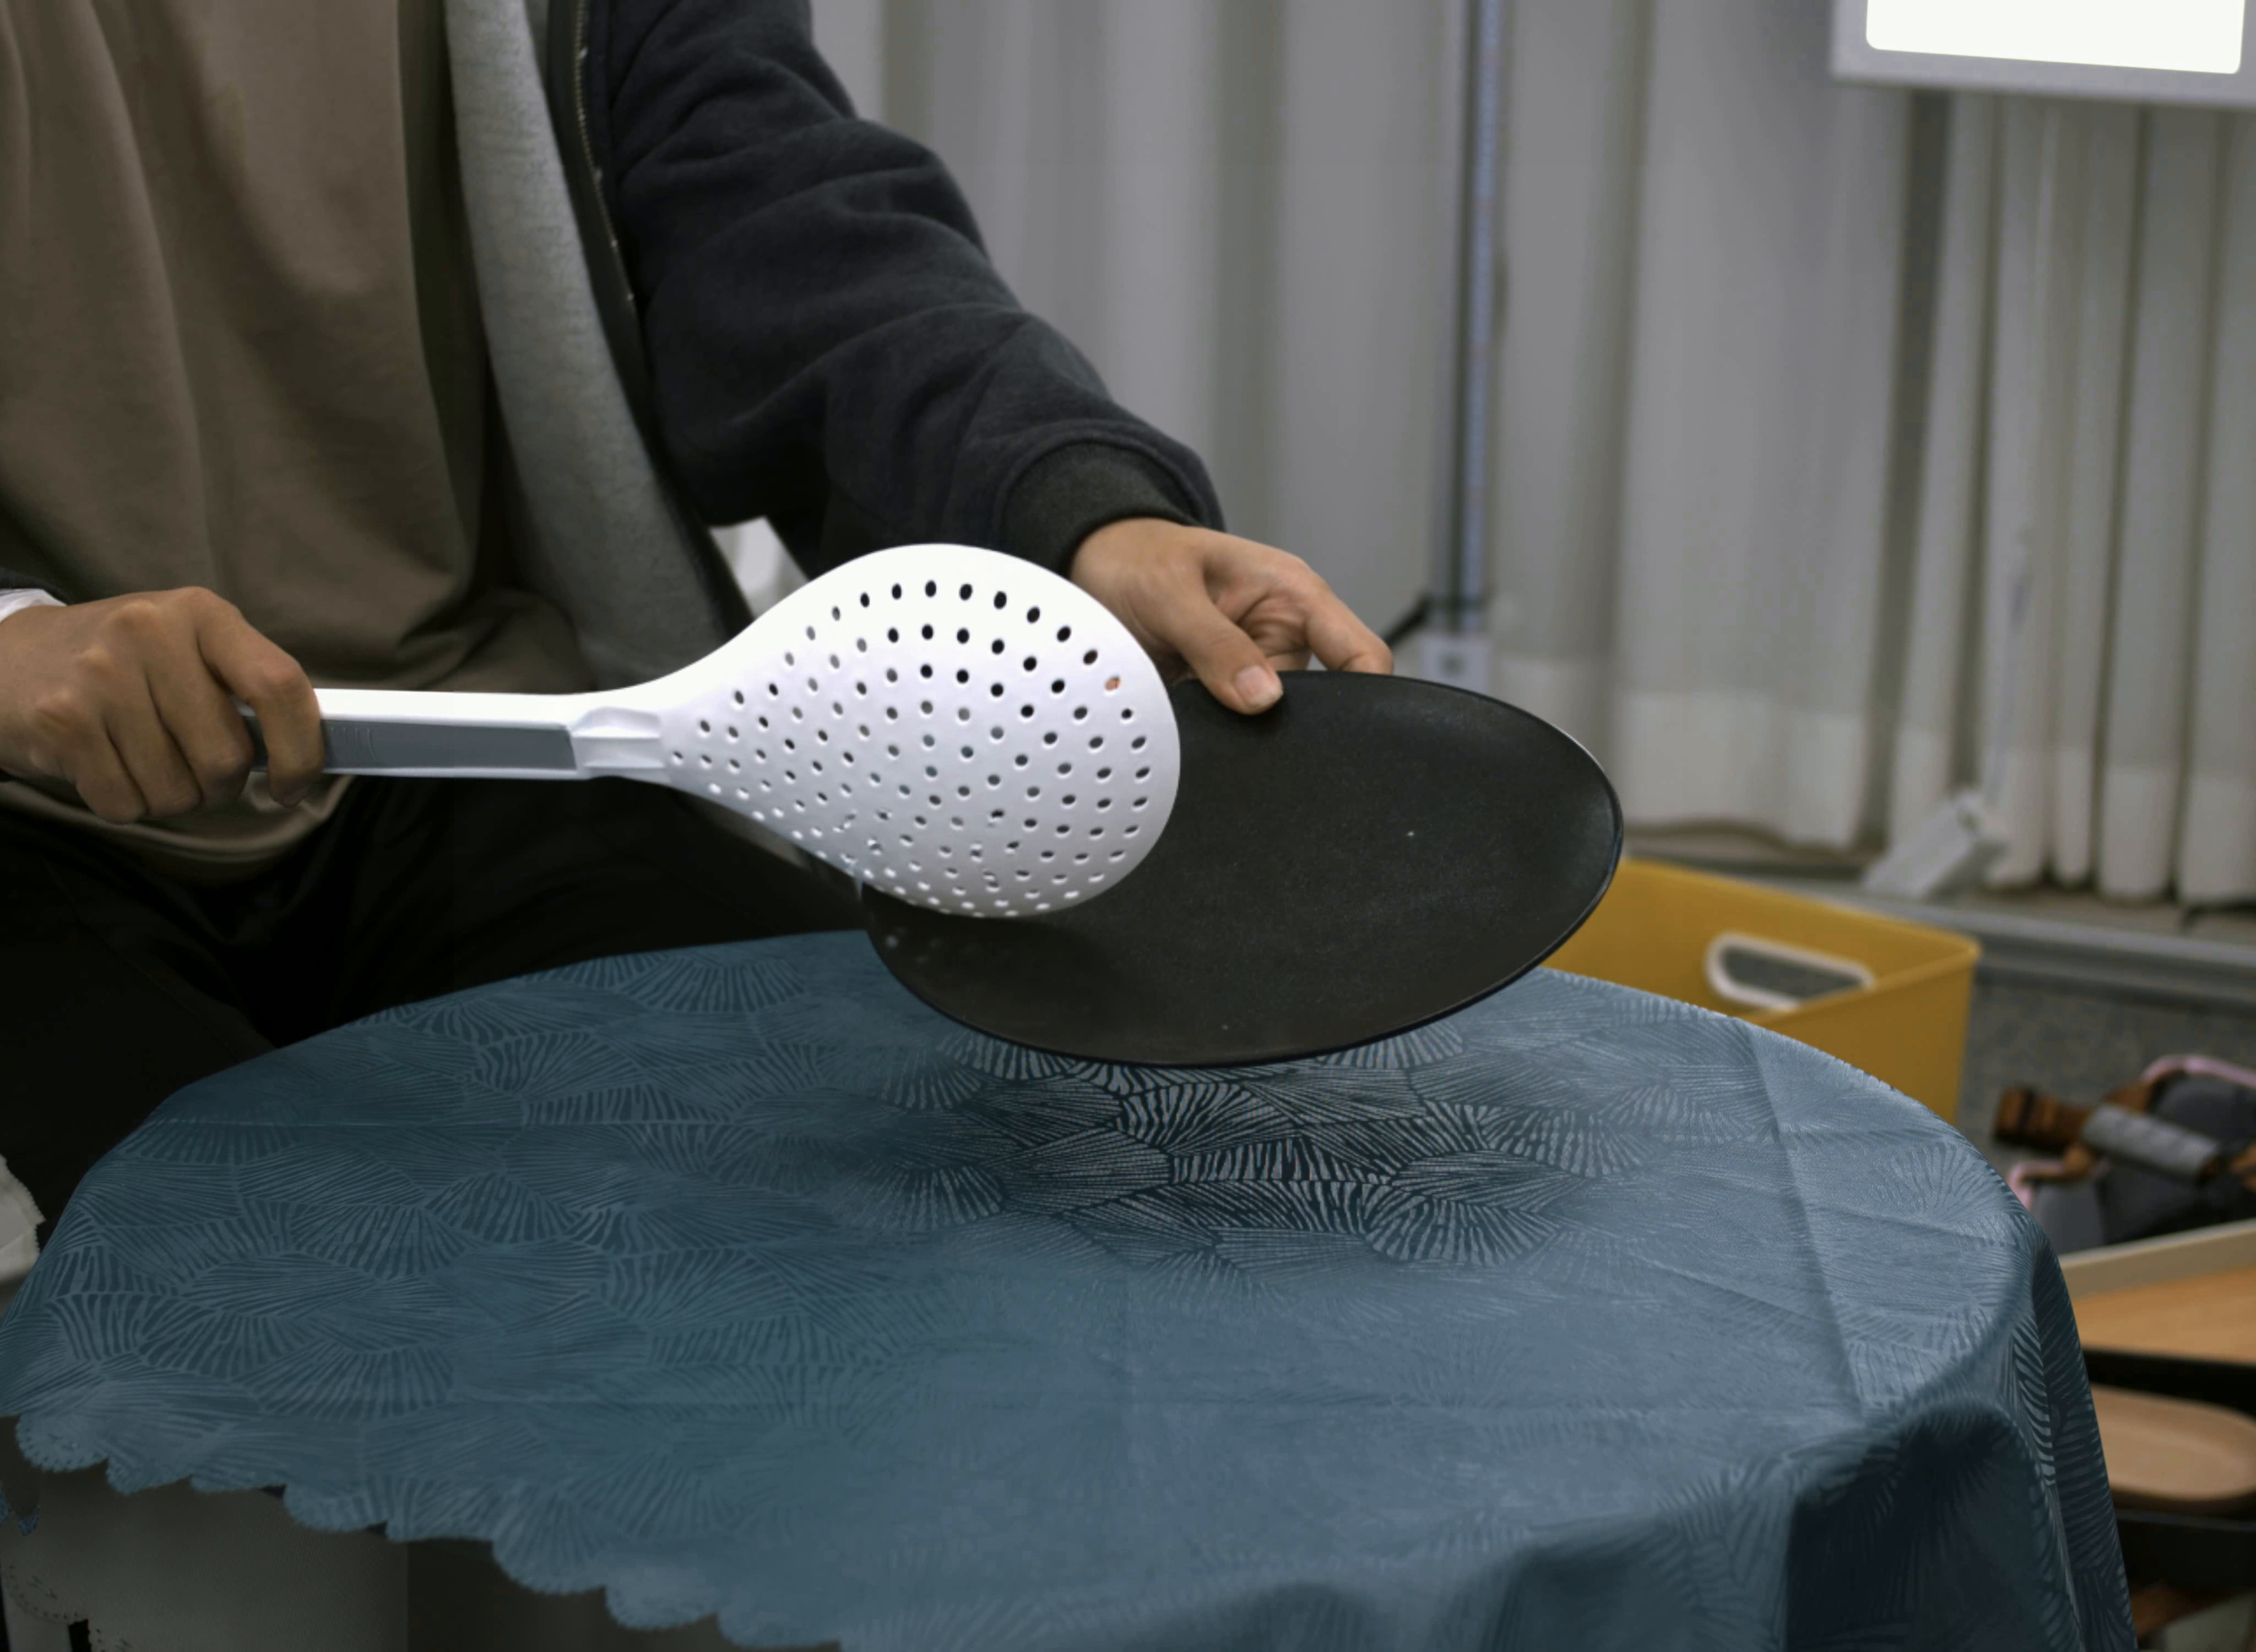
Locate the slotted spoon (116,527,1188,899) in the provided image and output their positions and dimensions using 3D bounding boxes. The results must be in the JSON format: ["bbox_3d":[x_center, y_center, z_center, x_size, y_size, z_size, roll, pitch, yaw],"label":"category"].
[{"bbox_3d":[-0.154,-0.031,1.651,0.347,0.138,0.045,4,36,17],"label":"slotted spoon"}]

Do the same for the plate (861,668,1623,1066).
[{"bbox_3d":[0.036,0.017,1.672,0.243,0.024,0.242,-4,30,3],"label":"plate"}]
